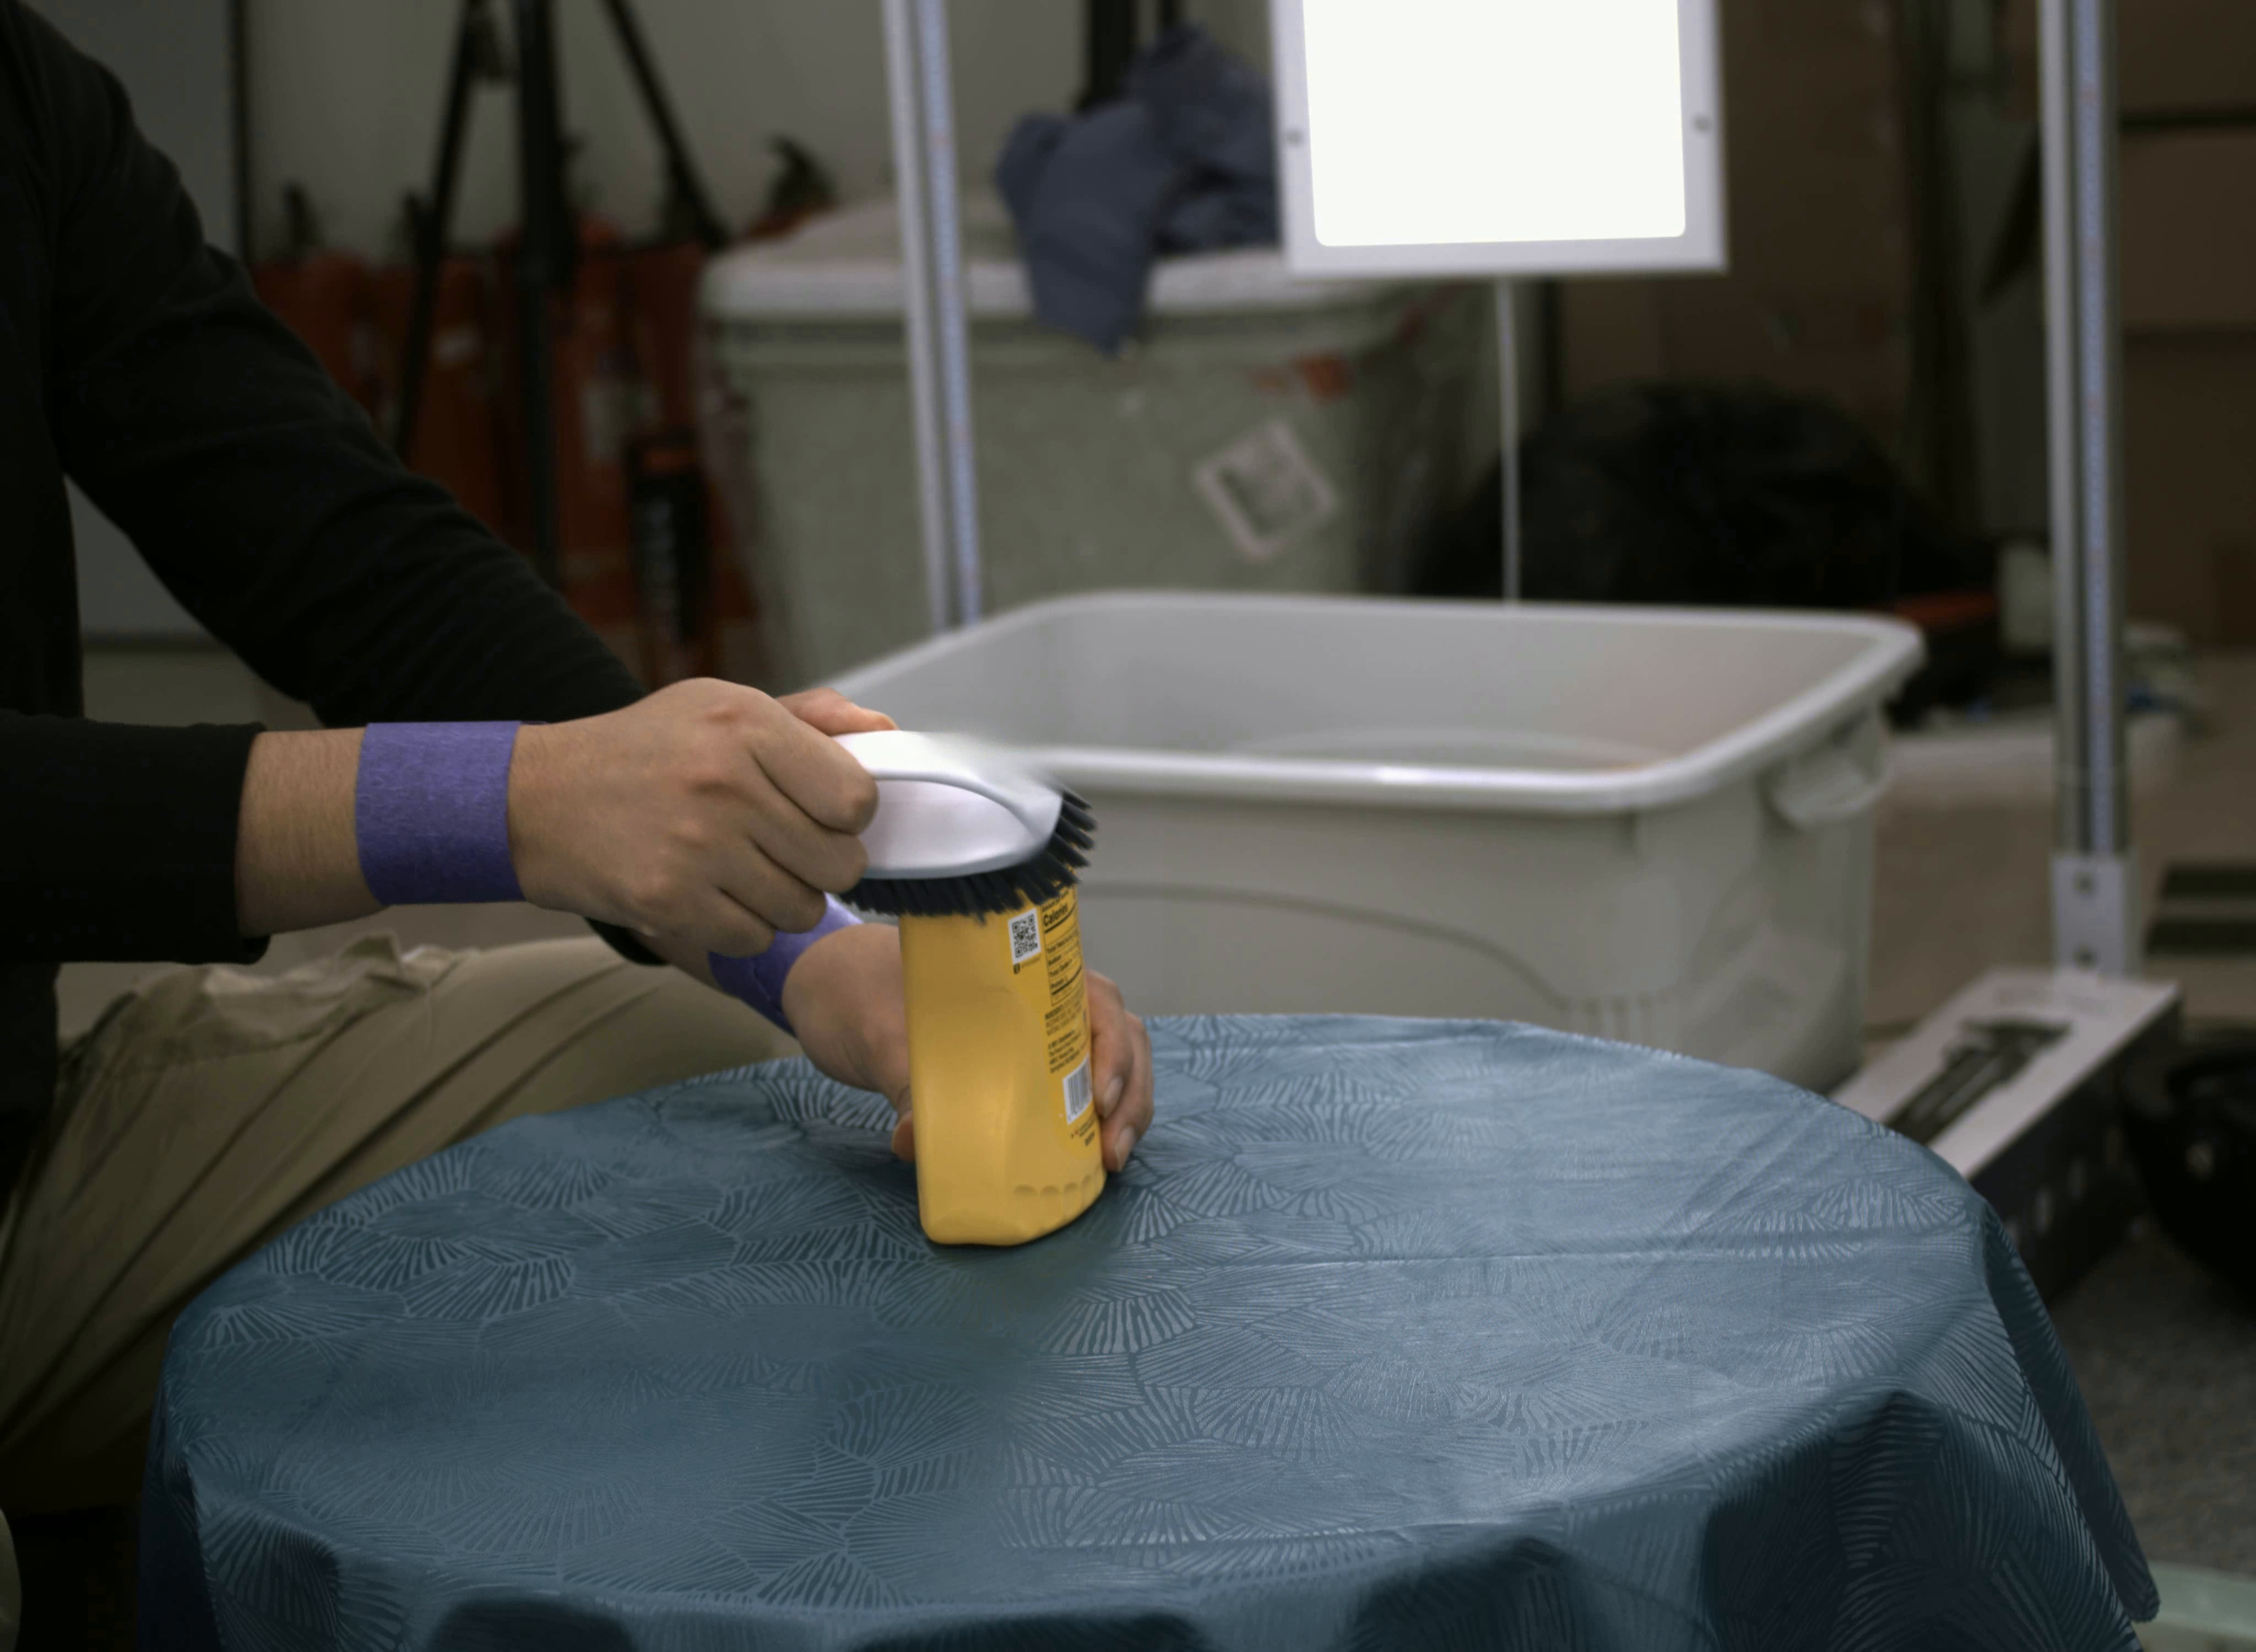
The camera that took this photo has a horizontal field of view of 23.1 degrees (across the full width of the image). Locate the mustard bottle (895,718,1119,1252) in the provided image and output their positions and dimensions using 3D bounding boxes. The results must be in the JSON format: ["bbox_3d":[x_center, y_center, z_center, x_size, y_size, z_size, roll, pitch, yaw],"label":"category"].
[{"bbox_3d":[-0.044,0.052,1.866,0.060,0.172,0.097,-4,14,17],"label":"mustard bottle"}]

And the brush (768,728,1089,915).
[{"bbox_3d":[-0.071,-0.009,1.786,0.101,0.050,0.071,1,-26,29],"label":"brush"}]
